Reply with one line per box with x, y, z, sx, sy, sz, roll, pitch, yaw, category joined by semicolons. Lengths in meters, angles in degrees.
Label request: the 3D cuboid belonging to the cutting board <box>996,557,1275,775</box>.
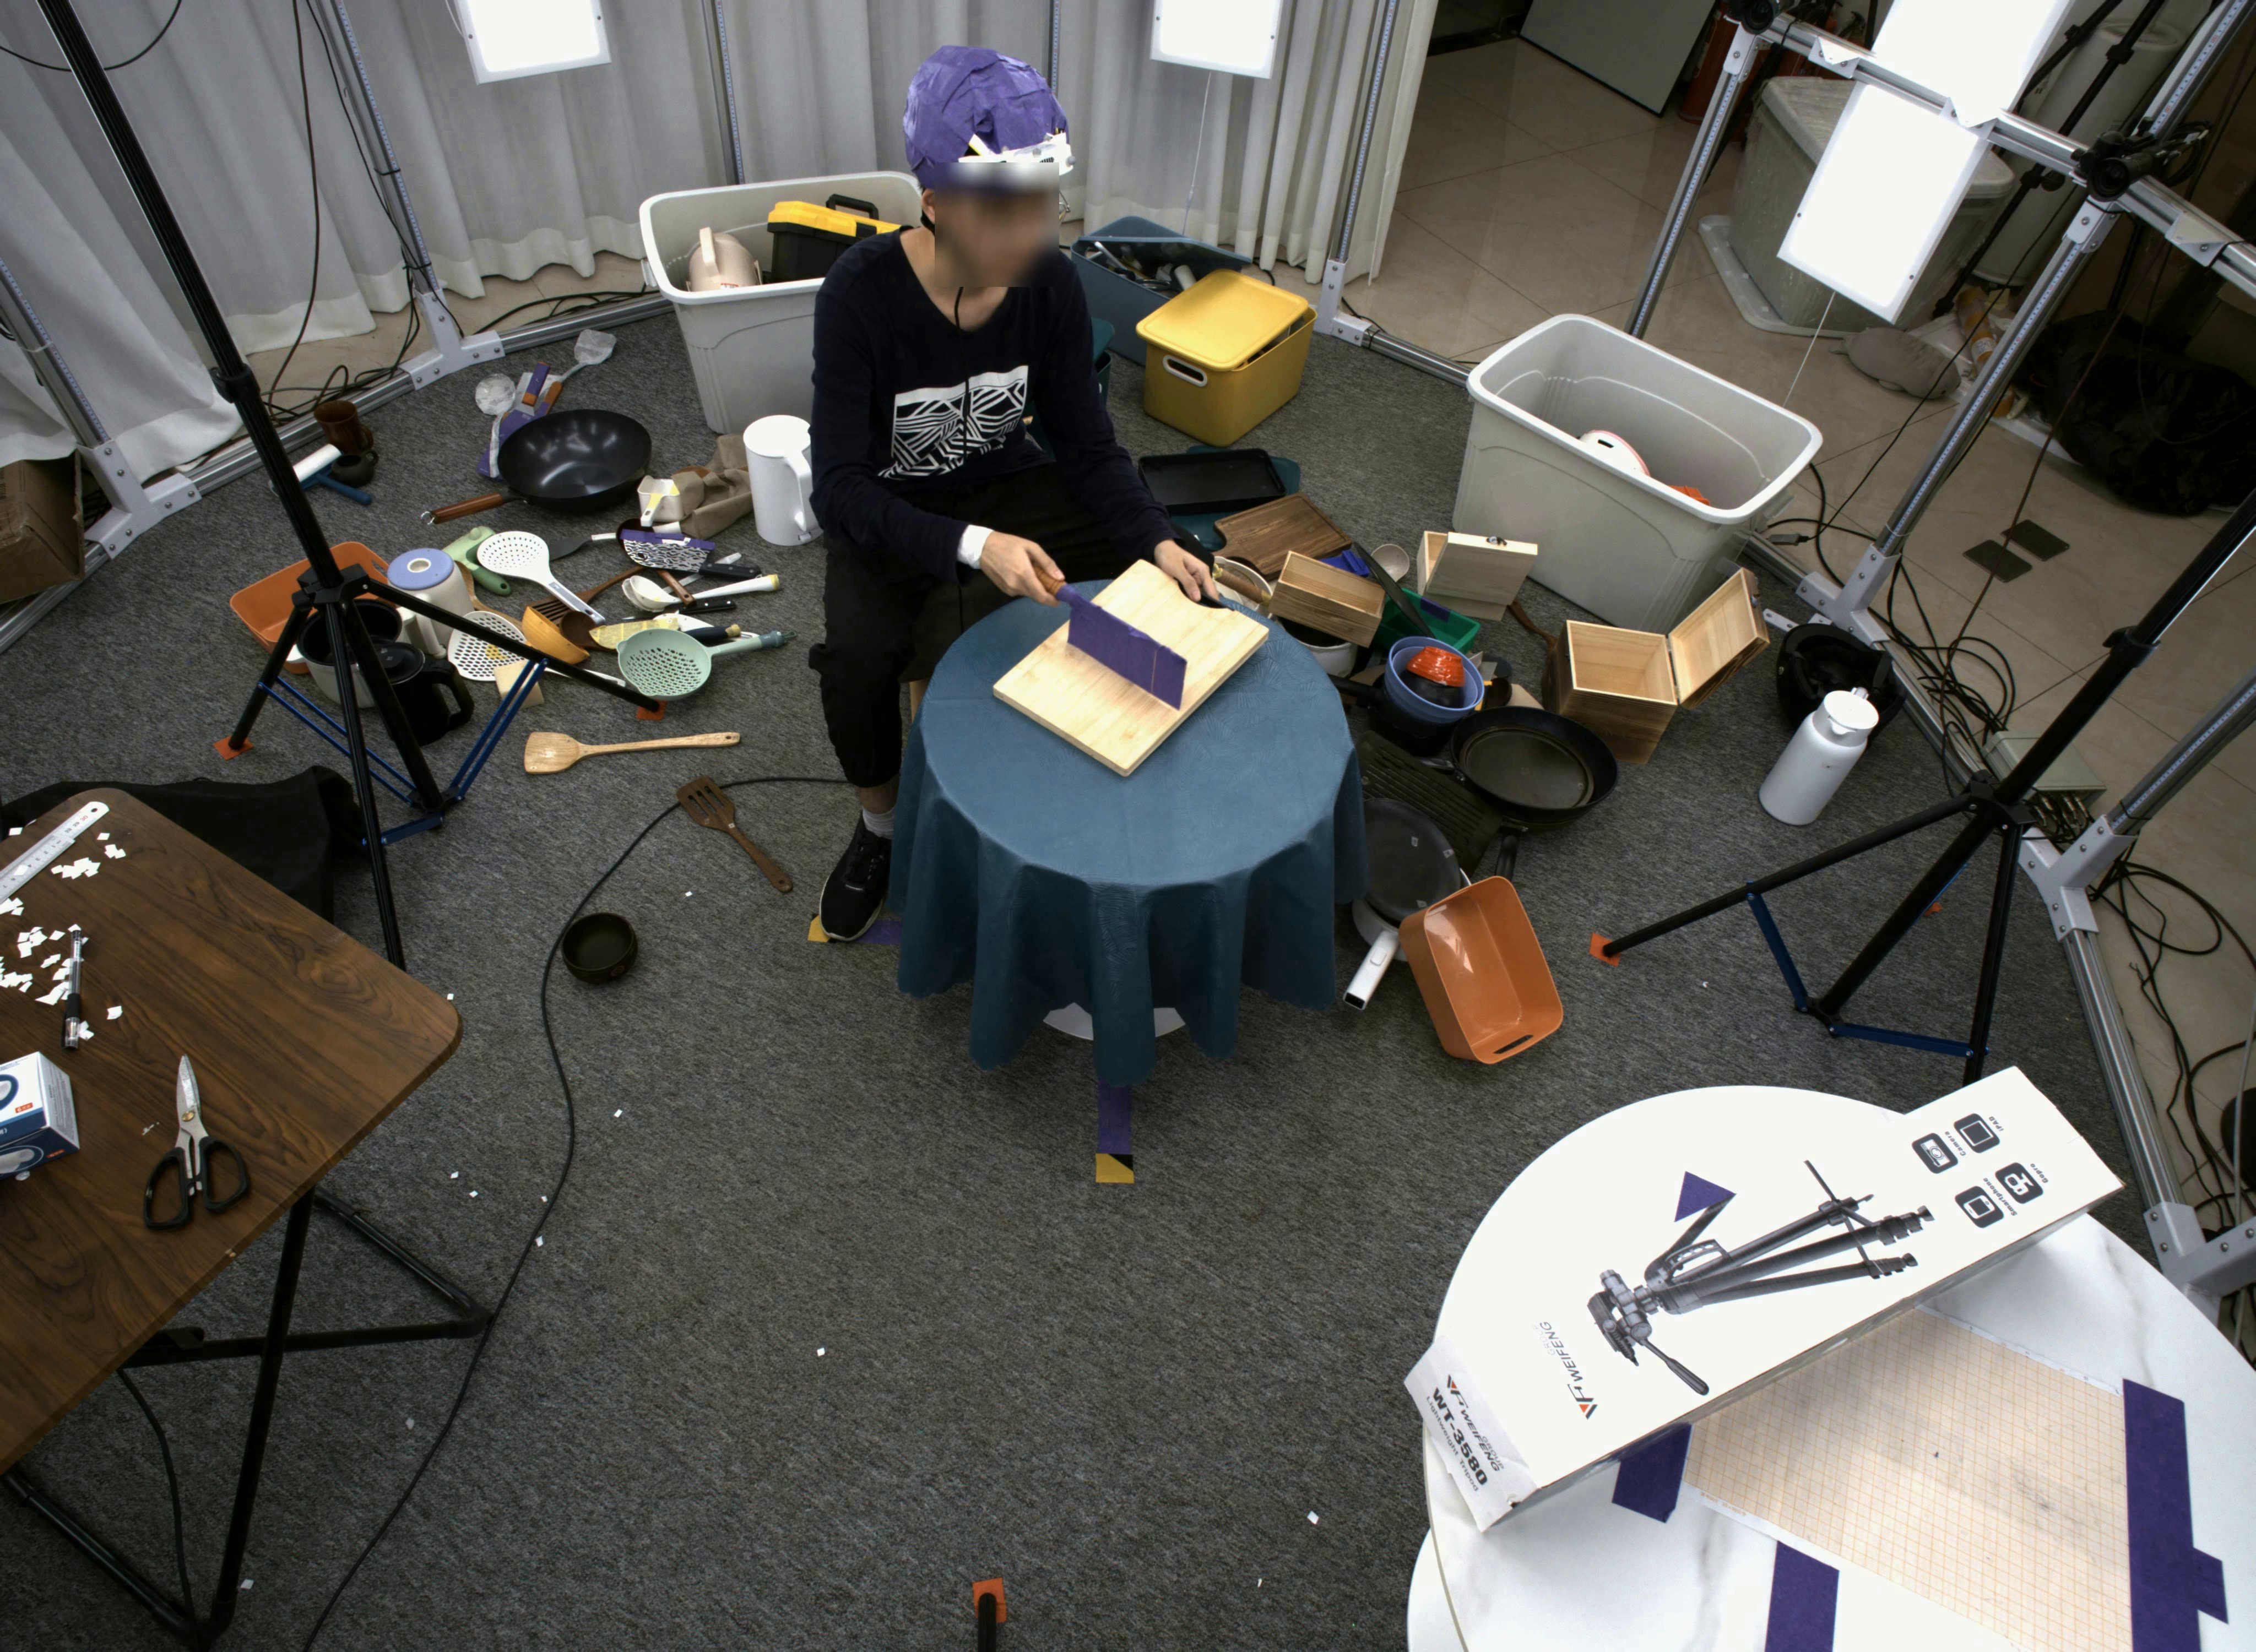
0.013;-0.240;1.849;0.253;0.023;0.353;32;59;22;cutting board

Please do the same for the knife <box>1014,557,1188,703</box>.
-0.042;-0.272;1.802;0.320;0.101;0.032;36;50;27;knife
